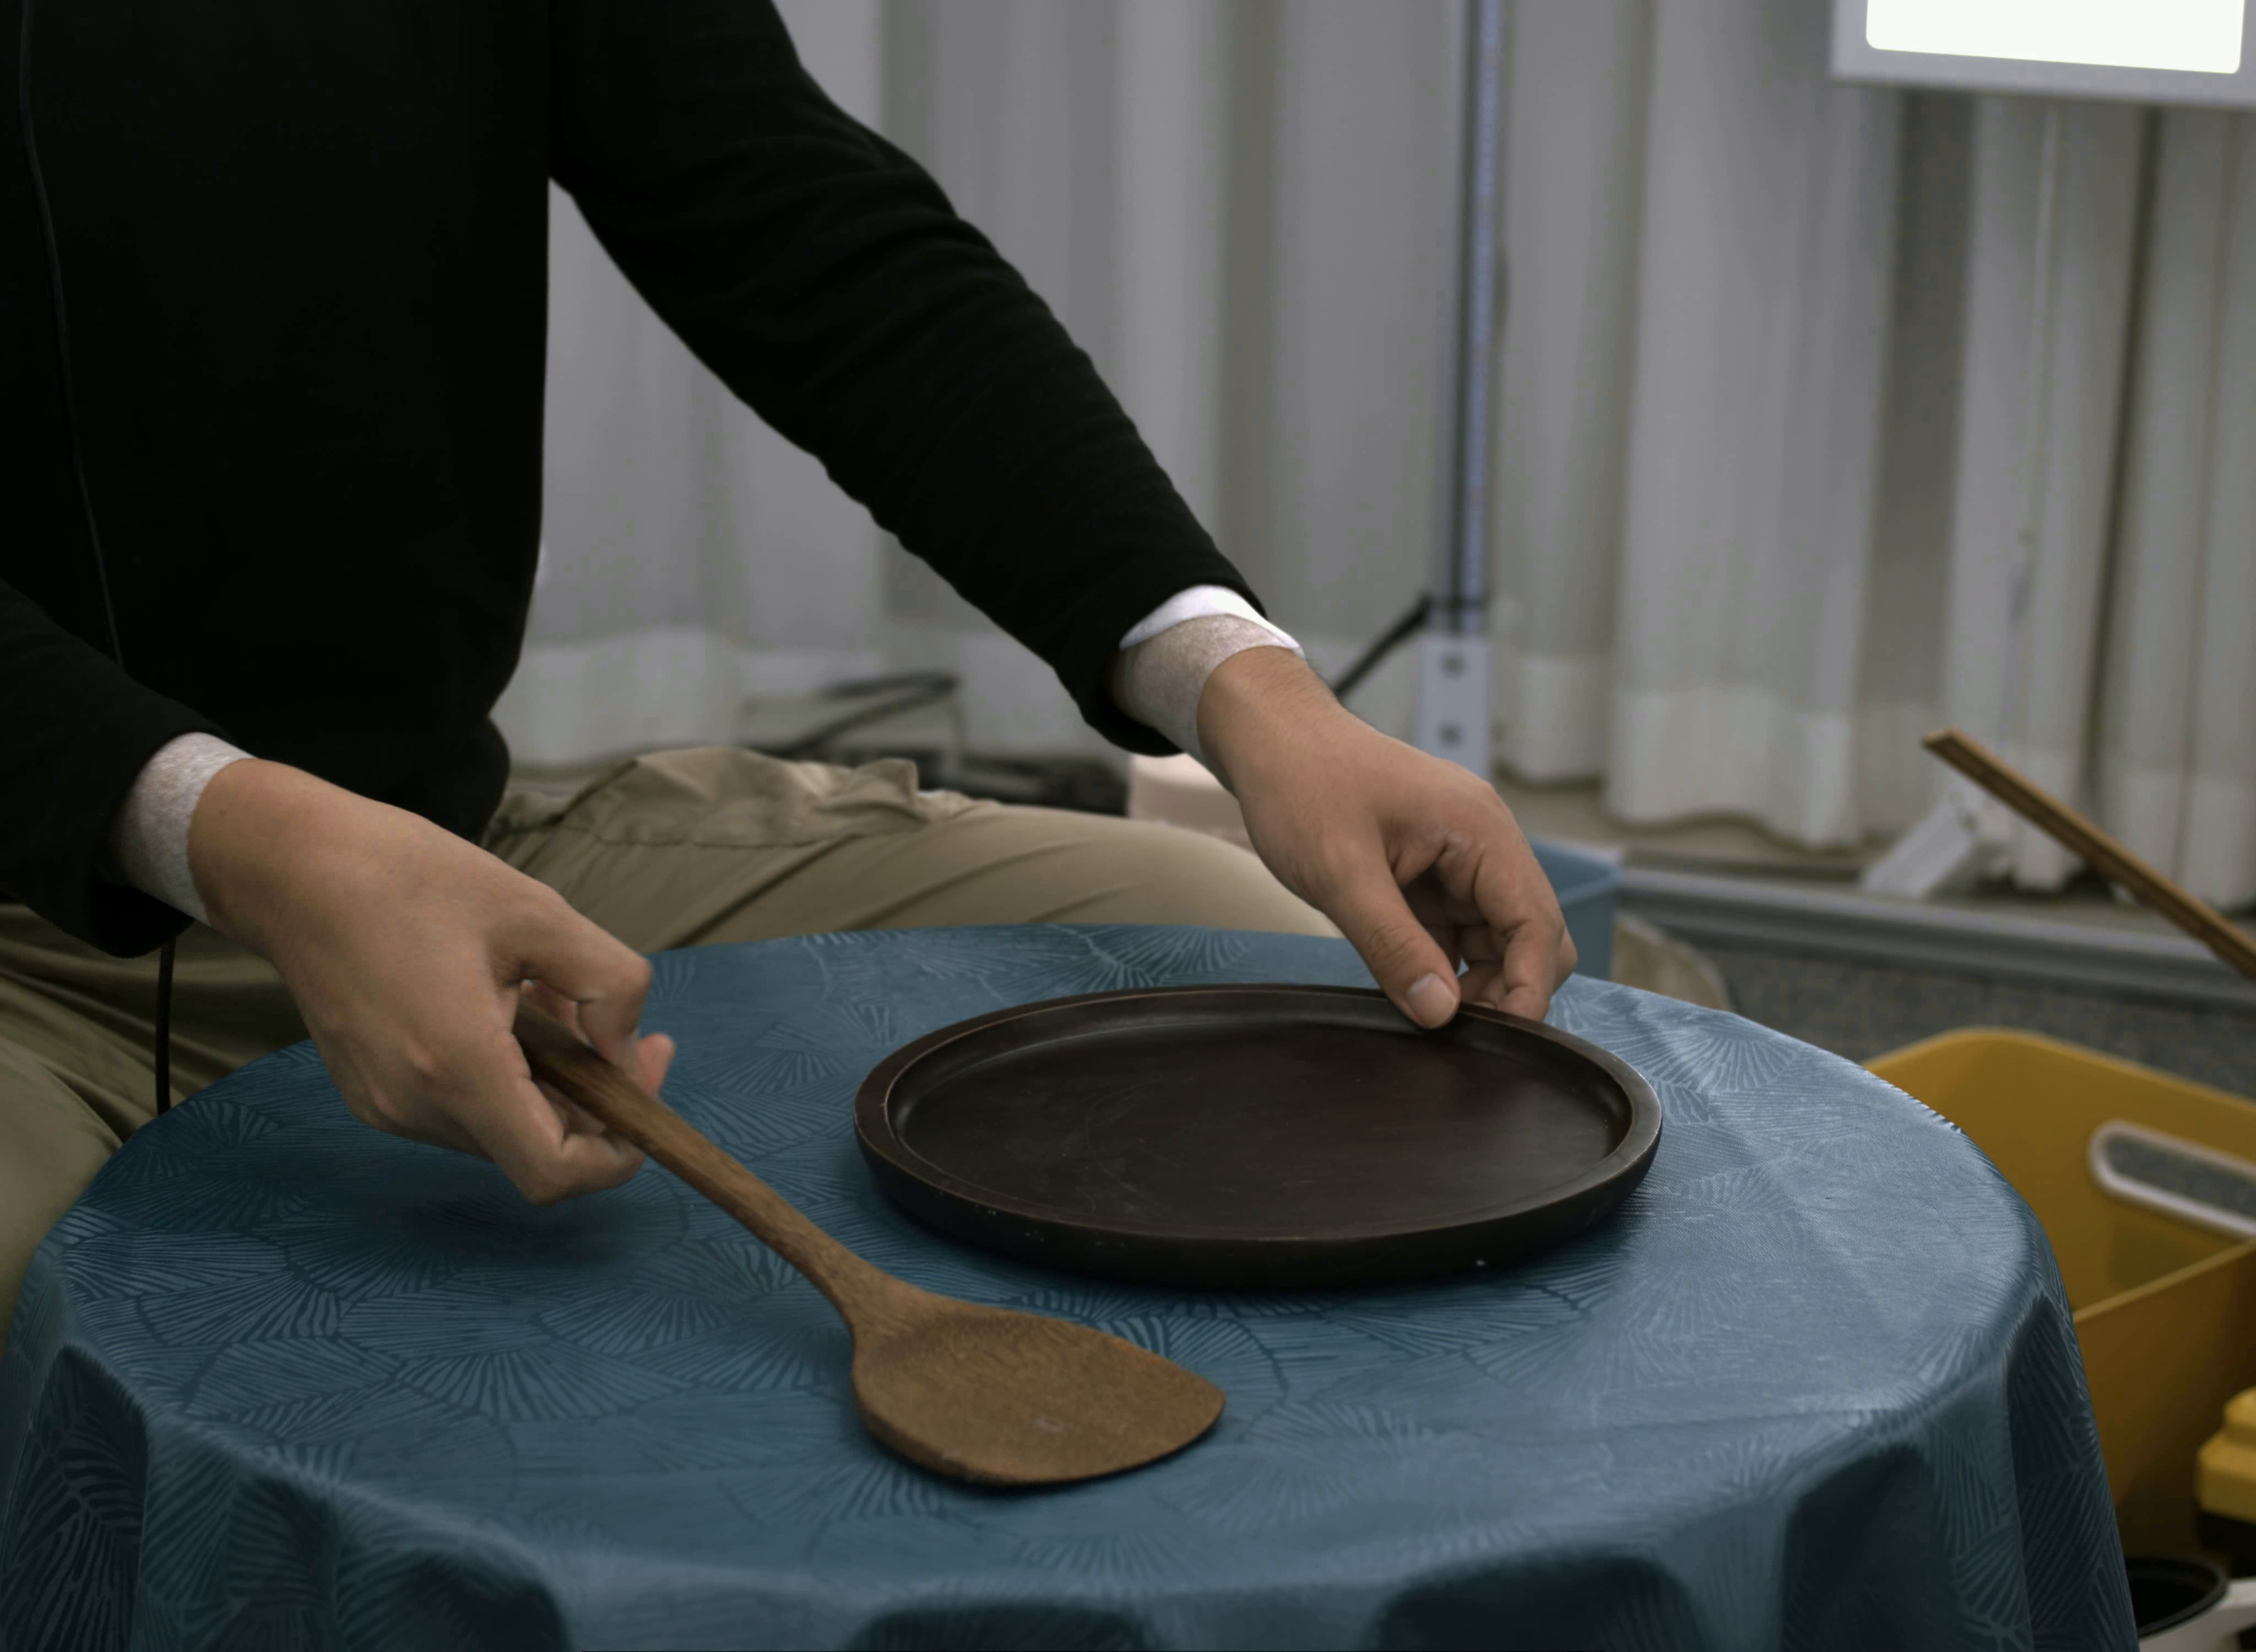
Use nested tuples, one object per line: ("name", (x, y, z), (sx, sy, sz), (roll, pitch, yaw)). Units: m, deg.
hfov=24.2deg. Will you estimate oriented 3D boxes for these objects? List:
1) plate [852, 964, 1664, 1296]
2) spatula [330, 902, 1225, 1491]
("plate", (0.040, 0.095, 1.639), (0.254, 0.029, 0.253), (-1, 16, 1))
("spatula", (-0.122, 0.099, 1.527), (0.096, 0.016, 0.380), (-12, 32, -40))
